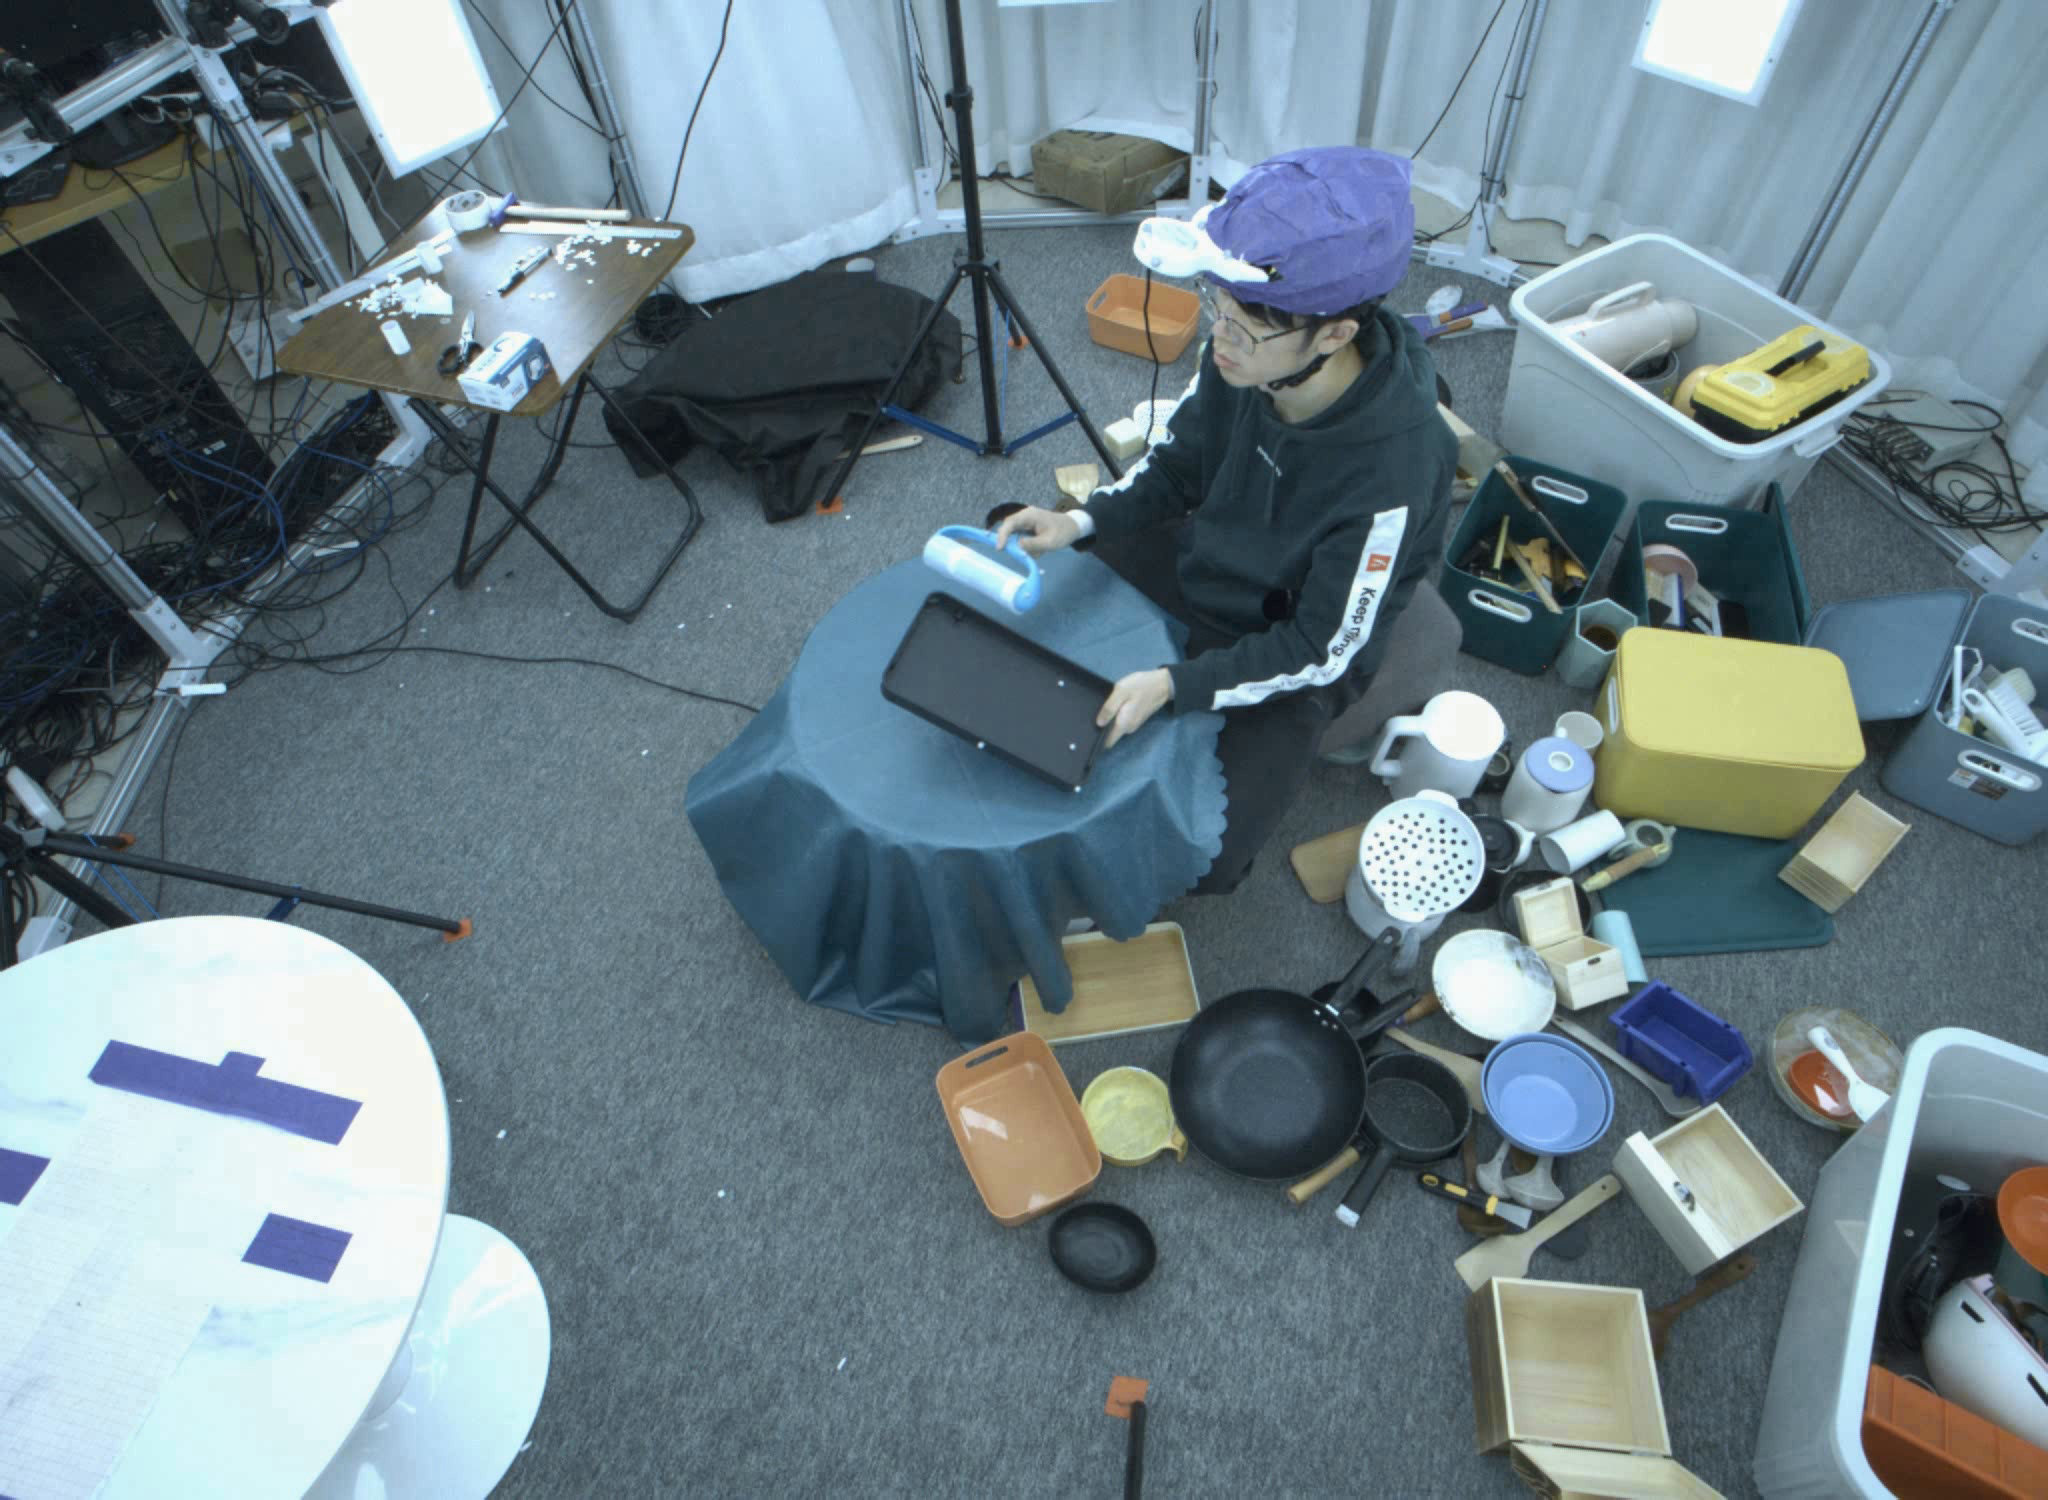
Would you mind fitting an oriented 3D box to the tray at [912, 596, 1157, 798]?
[{"bbox_3d":[0.017,-0.074,1.714,0.319,0.037,0.184,28,61,-5],"label":"tray"}]

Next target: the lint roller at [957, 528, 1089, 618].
[{"bbox_3d":[0.025,-0.285,1.827,0.224,0.069,0.182,30,51,34],"label":"lint roller"}]
